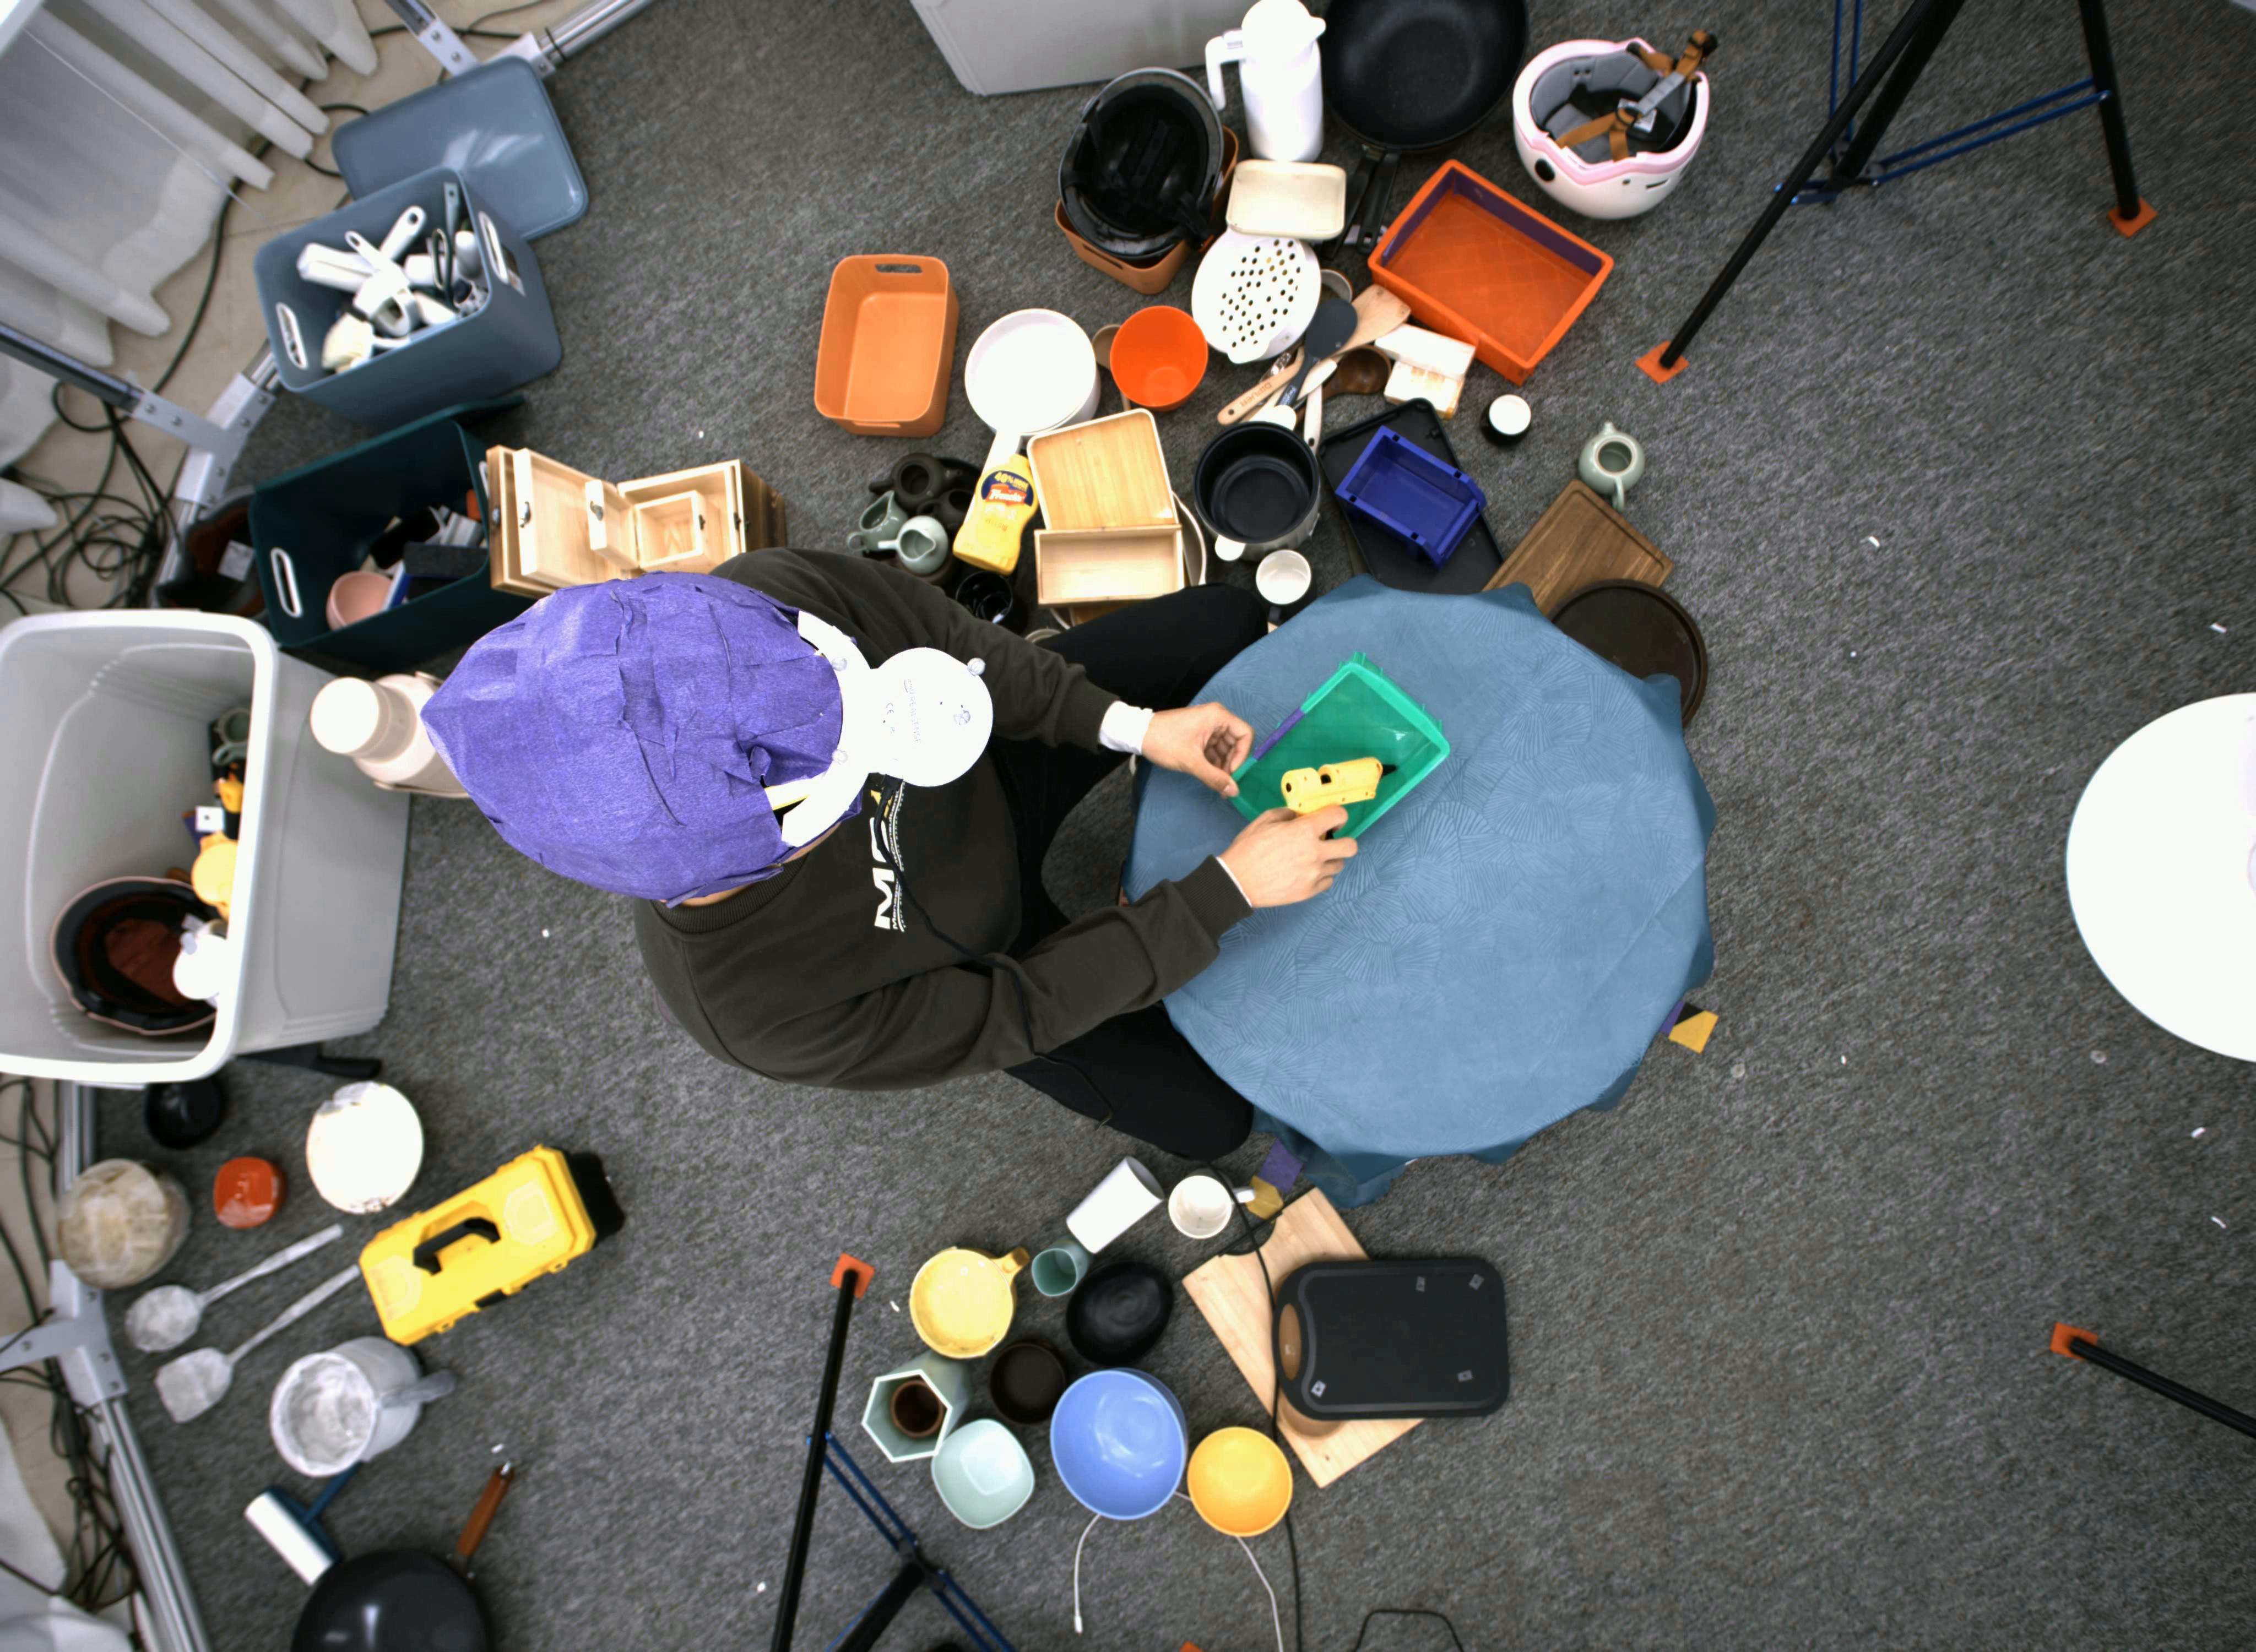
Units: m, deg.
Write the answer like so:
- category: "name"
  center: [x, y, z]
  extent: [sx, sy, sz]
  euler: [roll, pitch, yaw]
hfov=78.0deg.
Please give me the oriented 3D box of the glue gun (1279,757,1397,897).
- category: "glue gun"
  center: [0.215, -0.008, 1.386]
  extent: [0.149, 0.031, 0.135]
  euler: [-16, 117, -31]

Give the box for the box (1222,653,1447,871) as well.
- category: "box"
  center: [0.210, -0.068, 1.395]
  extent: [0.139, 0.063, 0.215]
  euler: [39, 124, -6]
